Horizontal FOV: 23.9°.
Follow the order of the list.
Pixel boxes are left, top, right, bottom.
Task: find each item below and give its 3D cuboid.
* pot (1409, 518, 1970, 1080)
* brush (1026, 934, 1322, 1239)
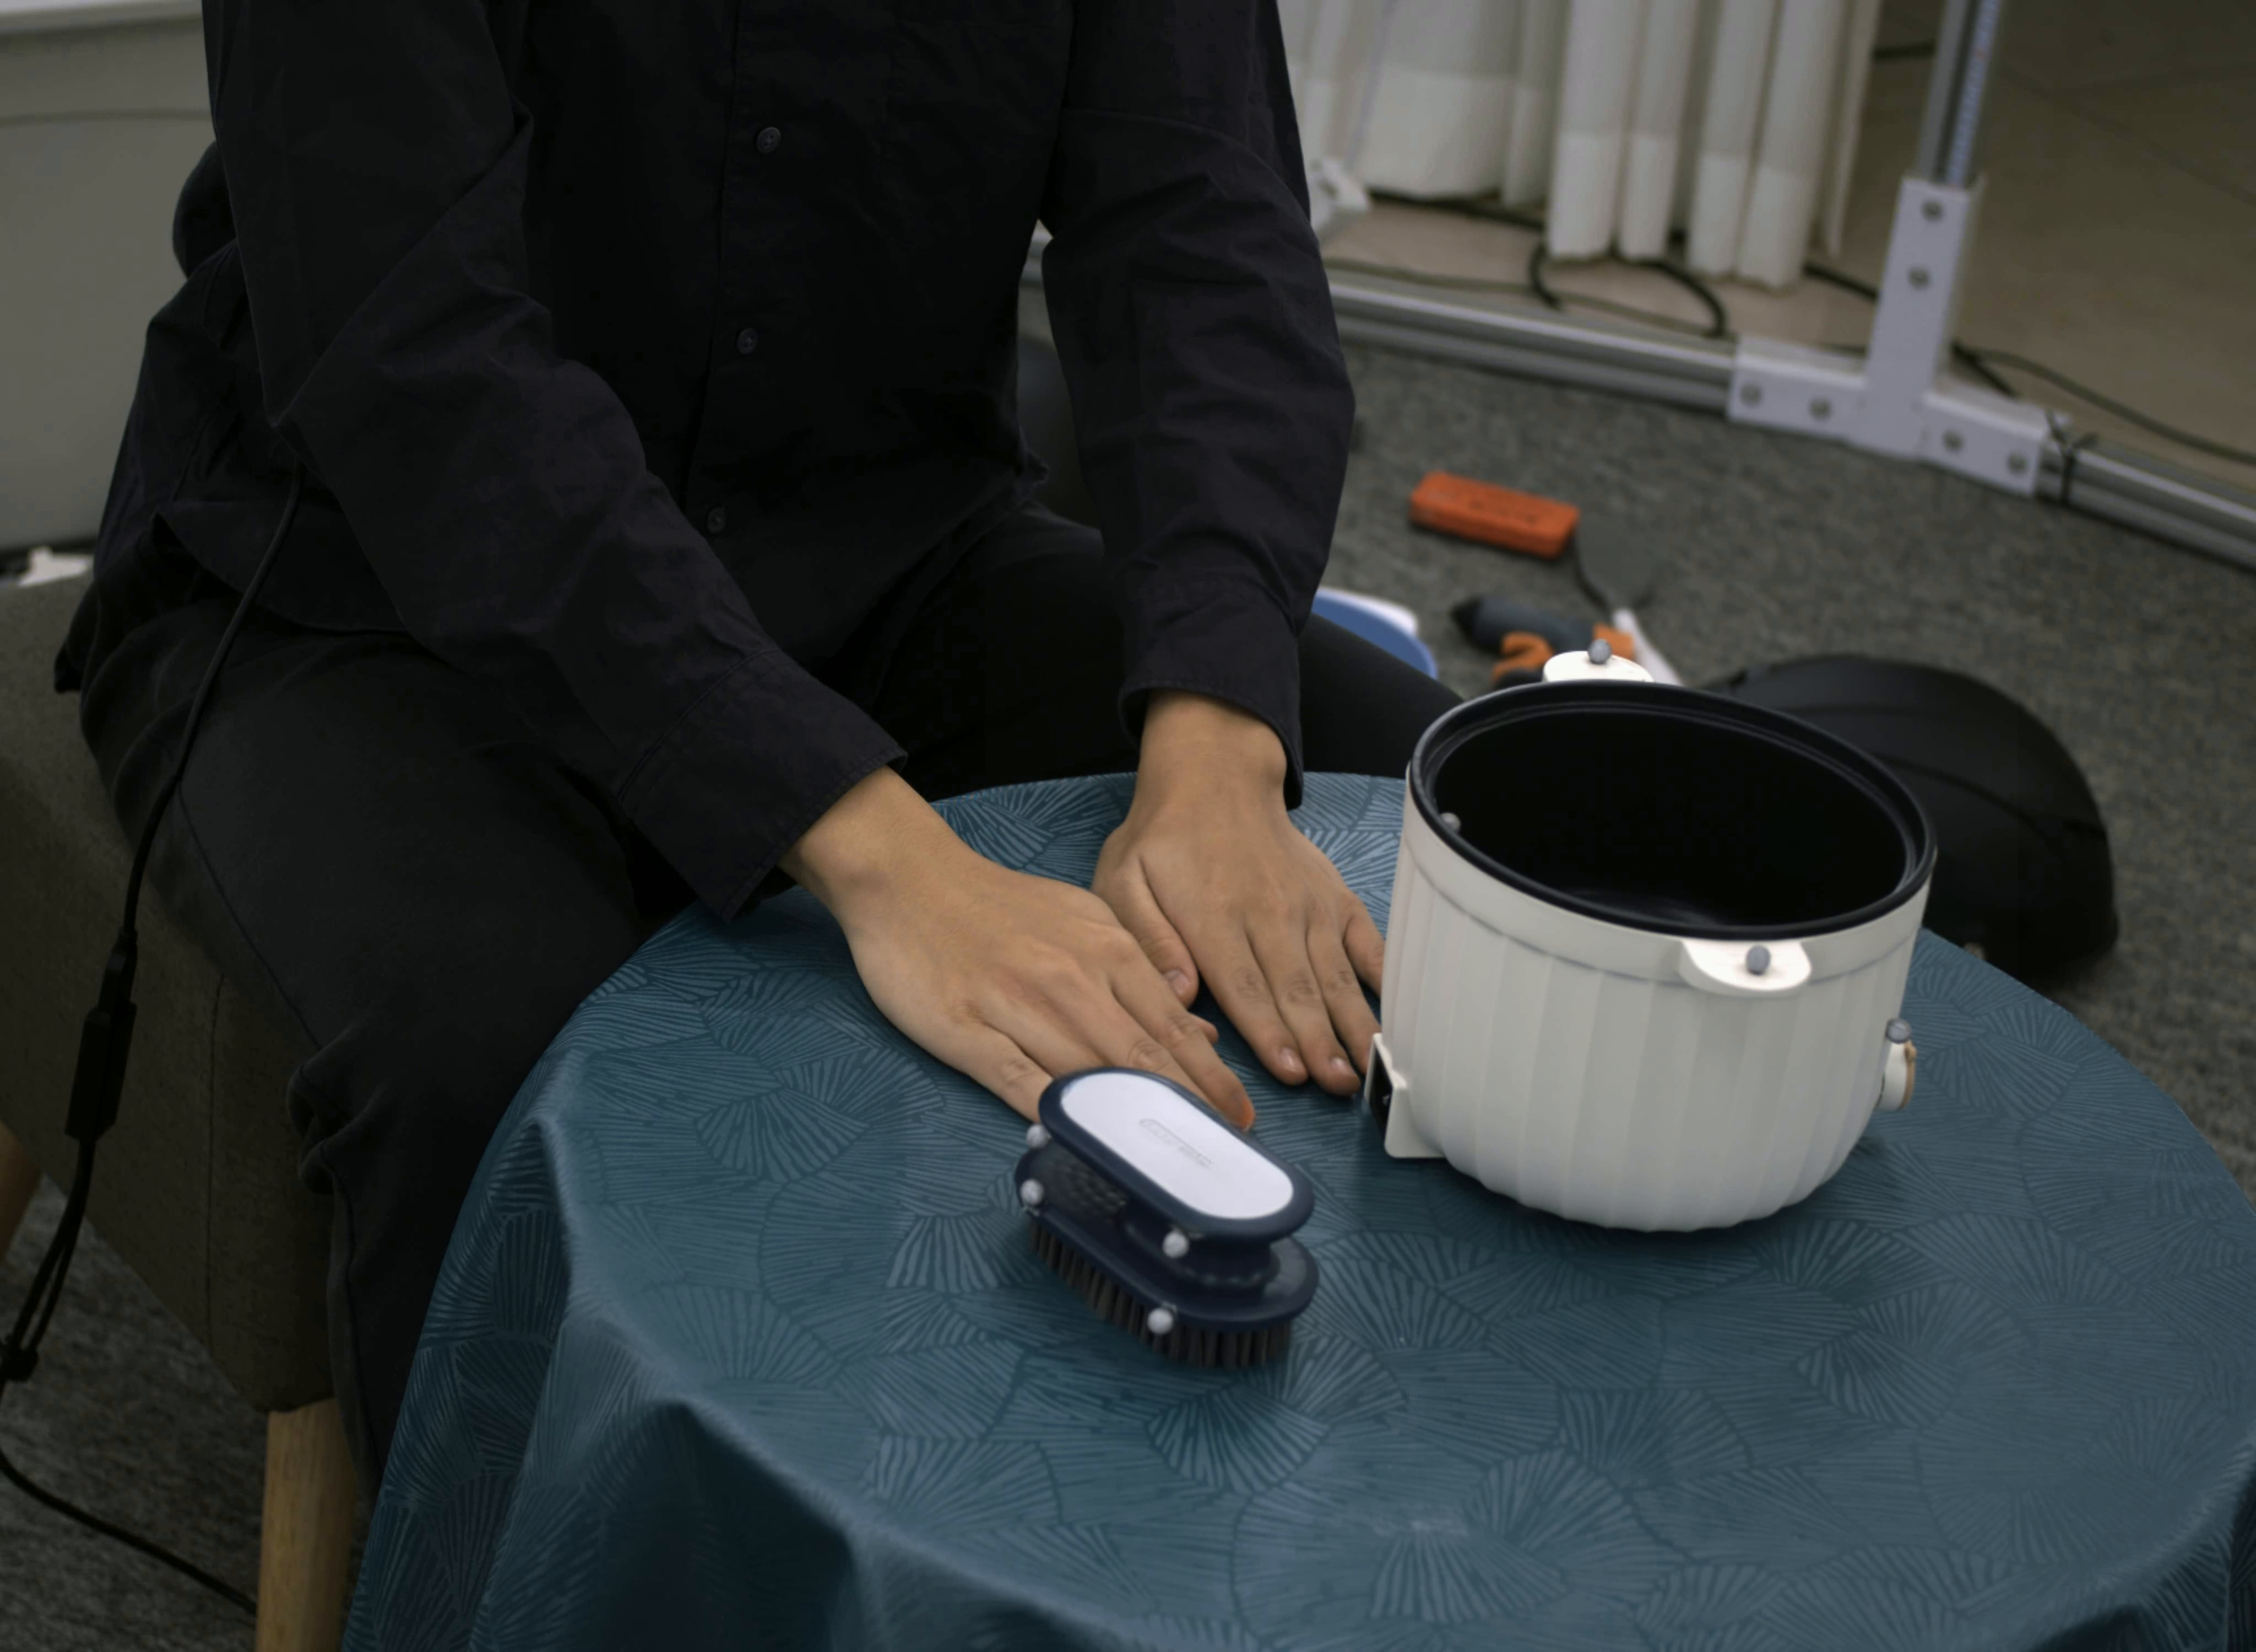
[{"bbox_3d":[0.199,-0.001,1.870,0.189,0.142,0.242,-2,29,-11],"label":"pot"},{"bbox_3d":[0.015,0.088,1.766,0.067,0.061,0.123,-15,37,-31],"label":"brush"}]
